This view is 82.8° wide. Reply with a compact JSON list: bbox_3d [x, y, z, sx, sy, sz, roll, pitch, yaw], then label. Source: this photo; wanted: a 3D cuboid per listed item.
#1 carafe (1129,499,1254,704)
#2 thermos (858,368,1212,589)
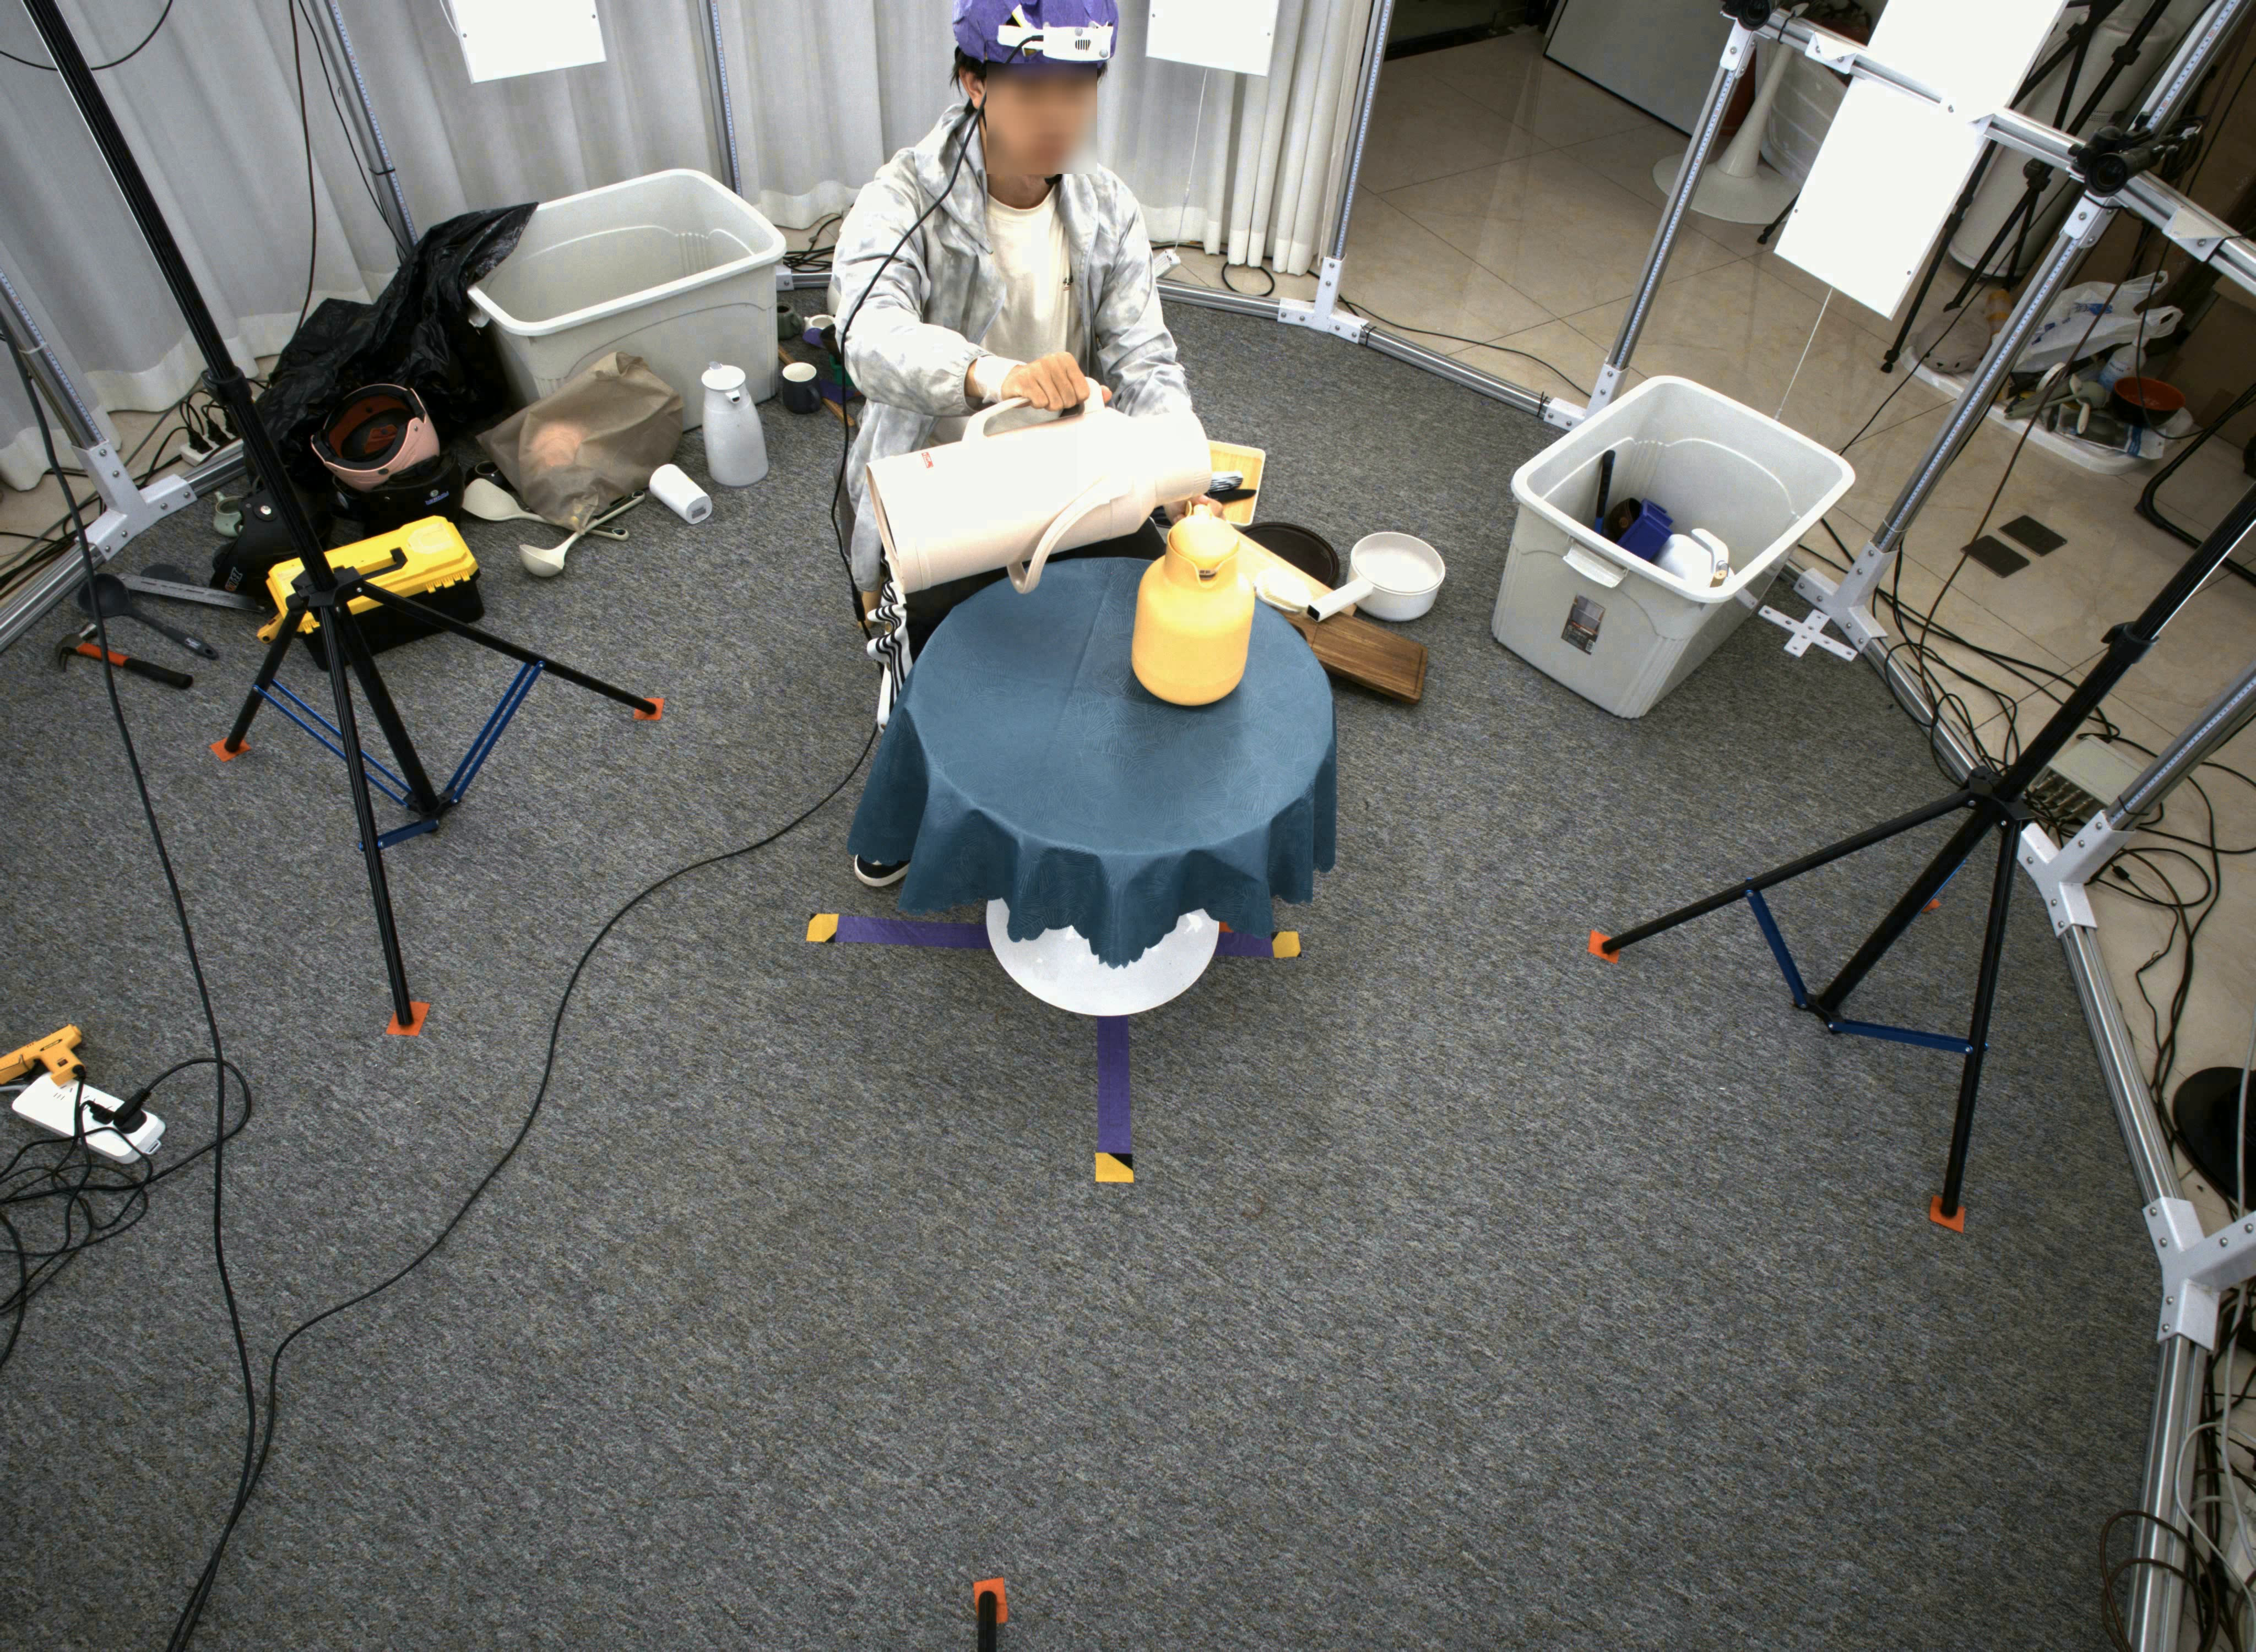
[{"bbox_3d":[0.092,-0.317,1.774,0.163,0.254,0.207,4,50,-4],"label":"carafe"},{"bbox_3d":[-0.108,-0.423,1.545,0.406,0.203,0.178,-16,22,-10],"label":"thermos"}]
